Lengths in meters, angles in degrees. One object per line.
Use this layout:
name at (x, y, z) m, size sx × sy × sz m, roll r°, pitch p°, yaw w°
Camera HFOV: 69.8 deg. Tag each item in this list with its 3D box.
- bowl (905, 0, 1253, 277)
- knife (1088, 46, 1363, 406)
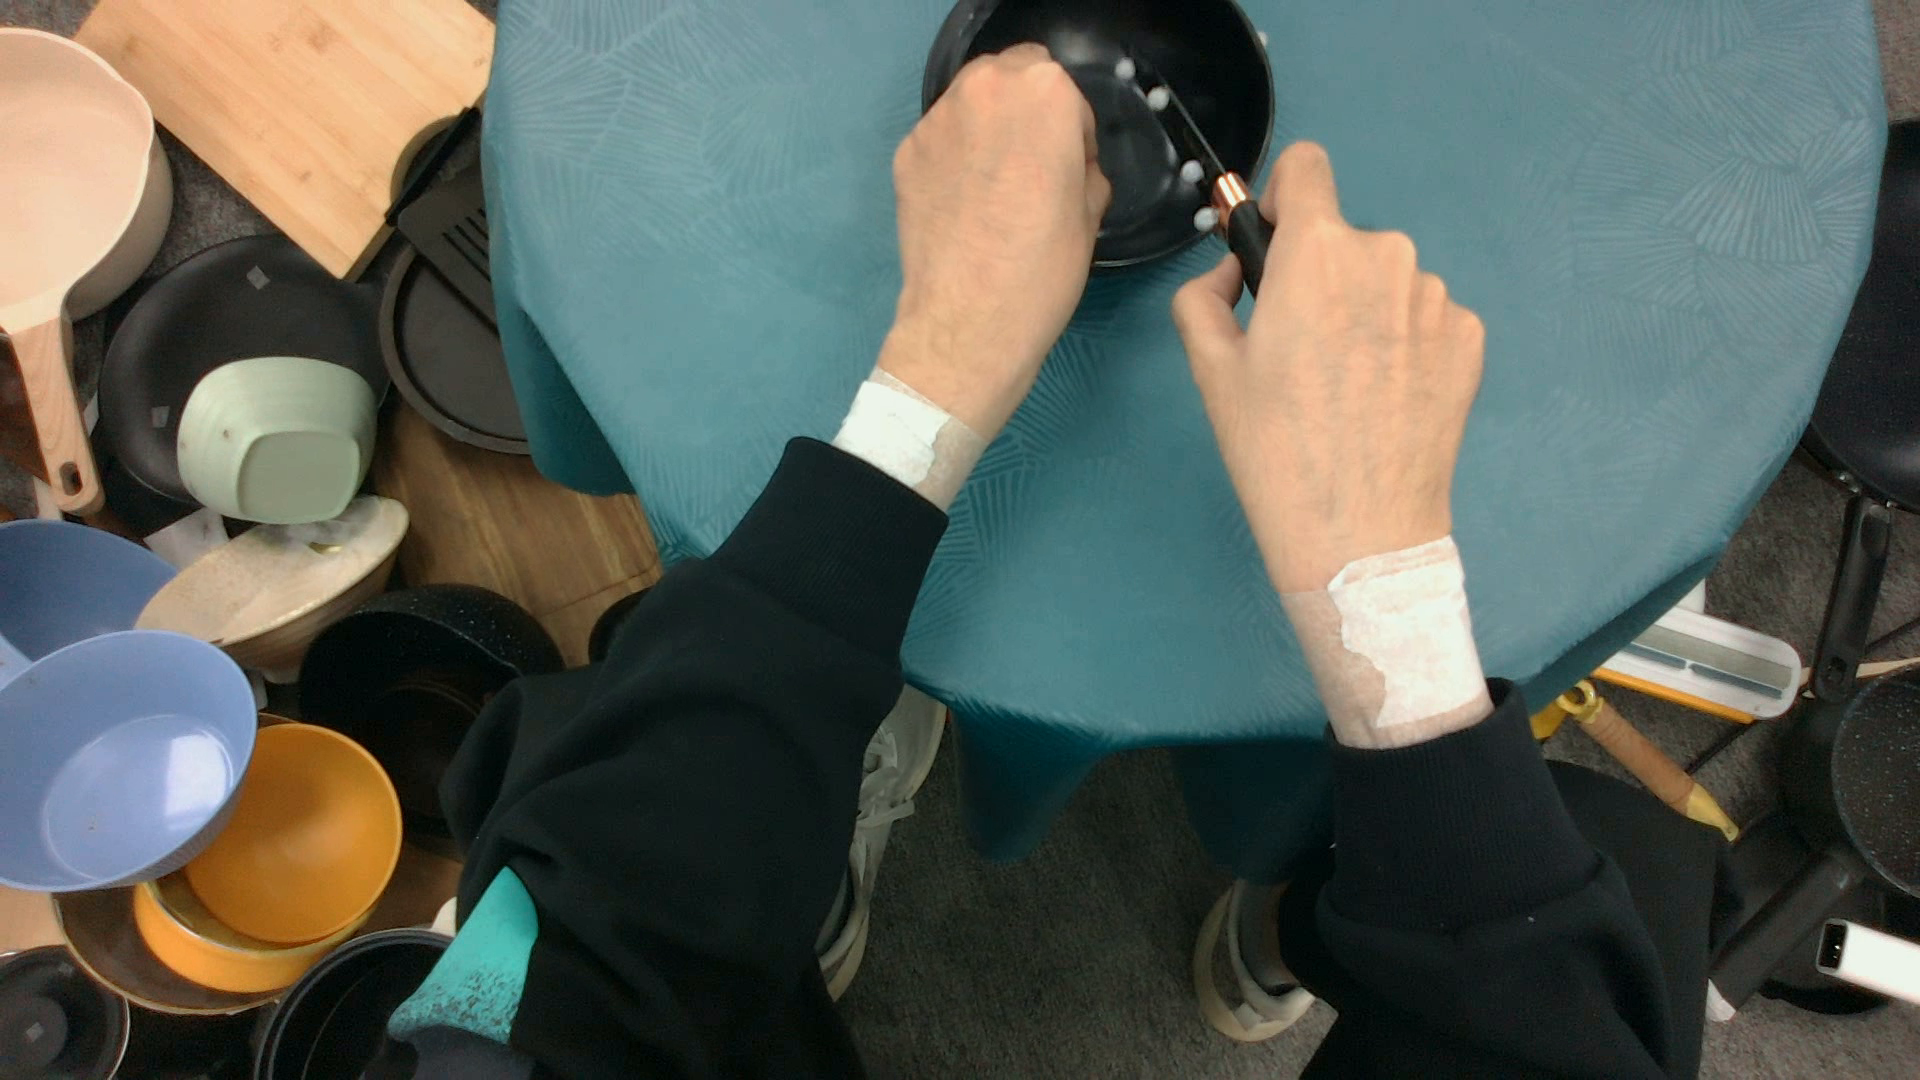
bowl at (0.047, -0.170, 0.568) m, size 0.140 × 0.050 × 0.140 m, roll 0°, pitch 83°, yaw -2°
knife at (0.091, -0.129, 0.513) m, size 0.017 × 0.026 × 0.226 m, roll -13°, pitch 52°, yaw -12°
